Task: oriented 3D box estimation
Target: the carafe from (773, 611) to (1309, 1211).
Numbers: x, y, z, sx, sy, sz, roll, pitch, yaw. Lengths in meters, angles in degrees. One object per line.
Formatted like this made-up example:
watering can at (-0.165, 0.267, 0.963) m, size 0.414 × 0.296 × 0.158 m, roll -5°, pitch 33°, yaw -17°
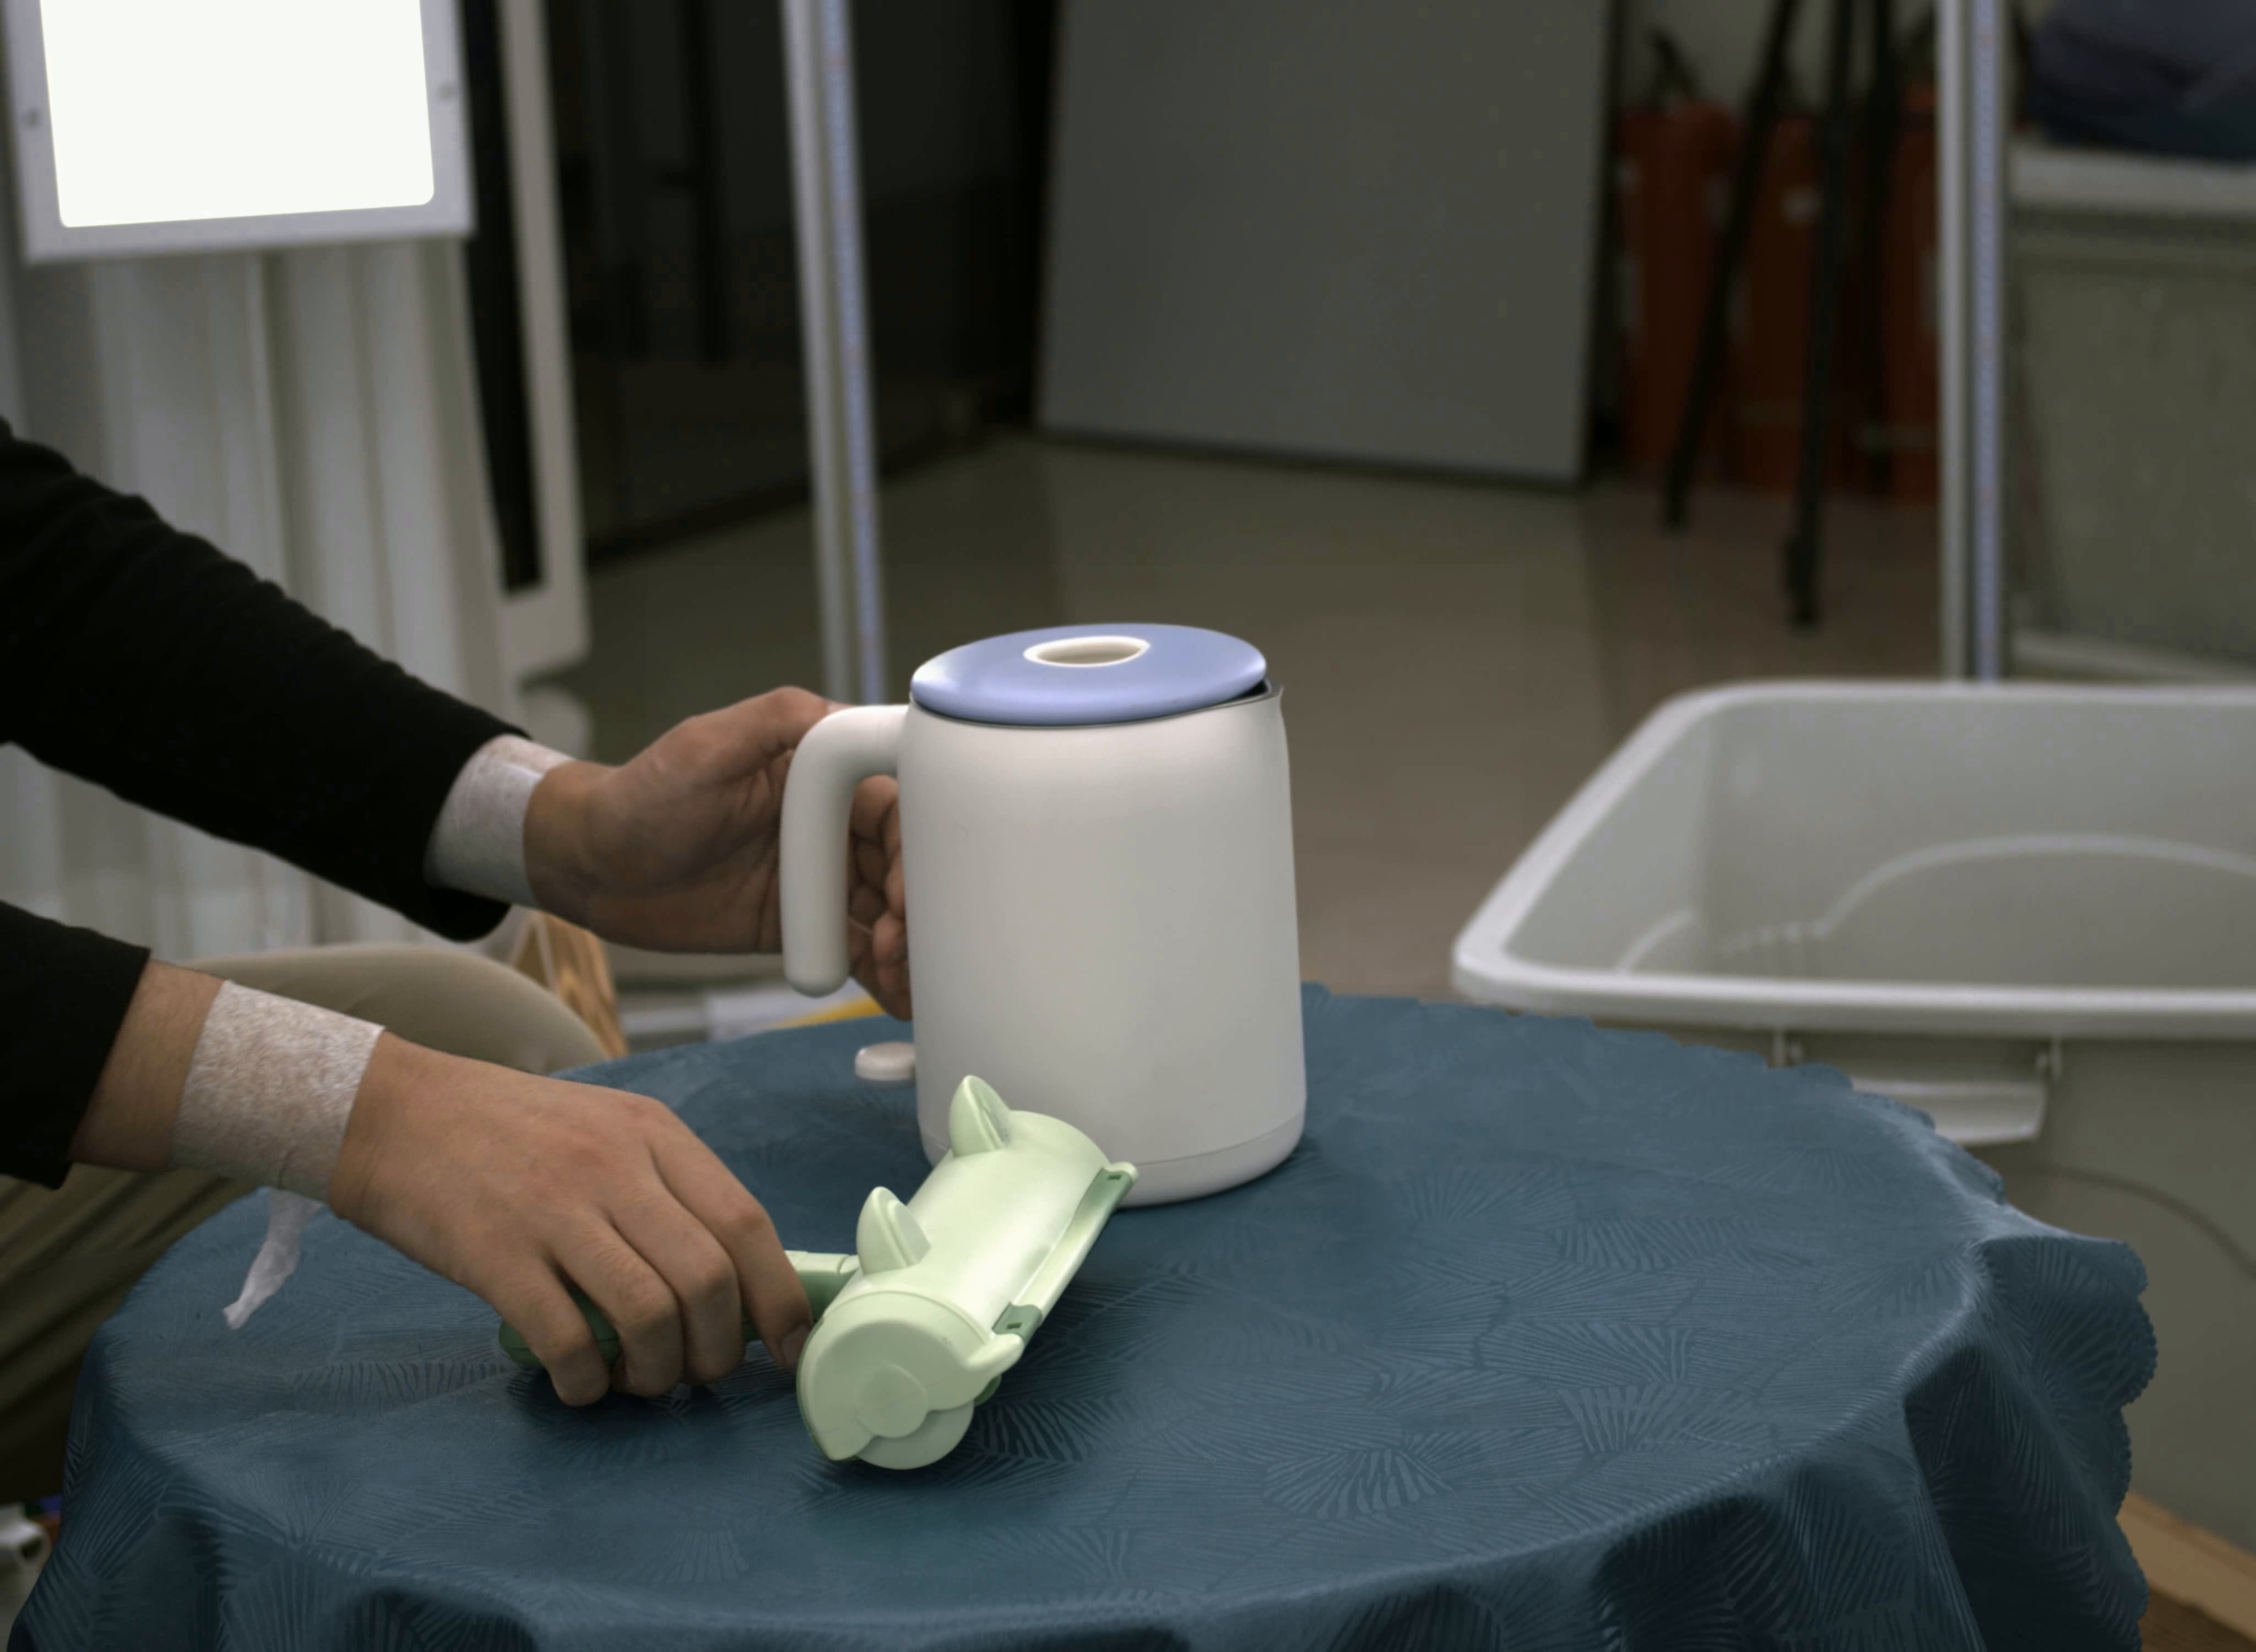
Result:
carafe at (-0.031, 0.028, 1.797) m, size 0.191 × 0.184 × 0.131 m, roll 0°, pitch 13°, yaw 23°

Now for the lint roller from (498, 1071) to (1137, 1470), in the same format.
lint roller at (-0.102, 0.127, 1.614) m, size 0.182 × 0.083 × 0.197 m, roll 2°, pitch 13°, yaw 12°
